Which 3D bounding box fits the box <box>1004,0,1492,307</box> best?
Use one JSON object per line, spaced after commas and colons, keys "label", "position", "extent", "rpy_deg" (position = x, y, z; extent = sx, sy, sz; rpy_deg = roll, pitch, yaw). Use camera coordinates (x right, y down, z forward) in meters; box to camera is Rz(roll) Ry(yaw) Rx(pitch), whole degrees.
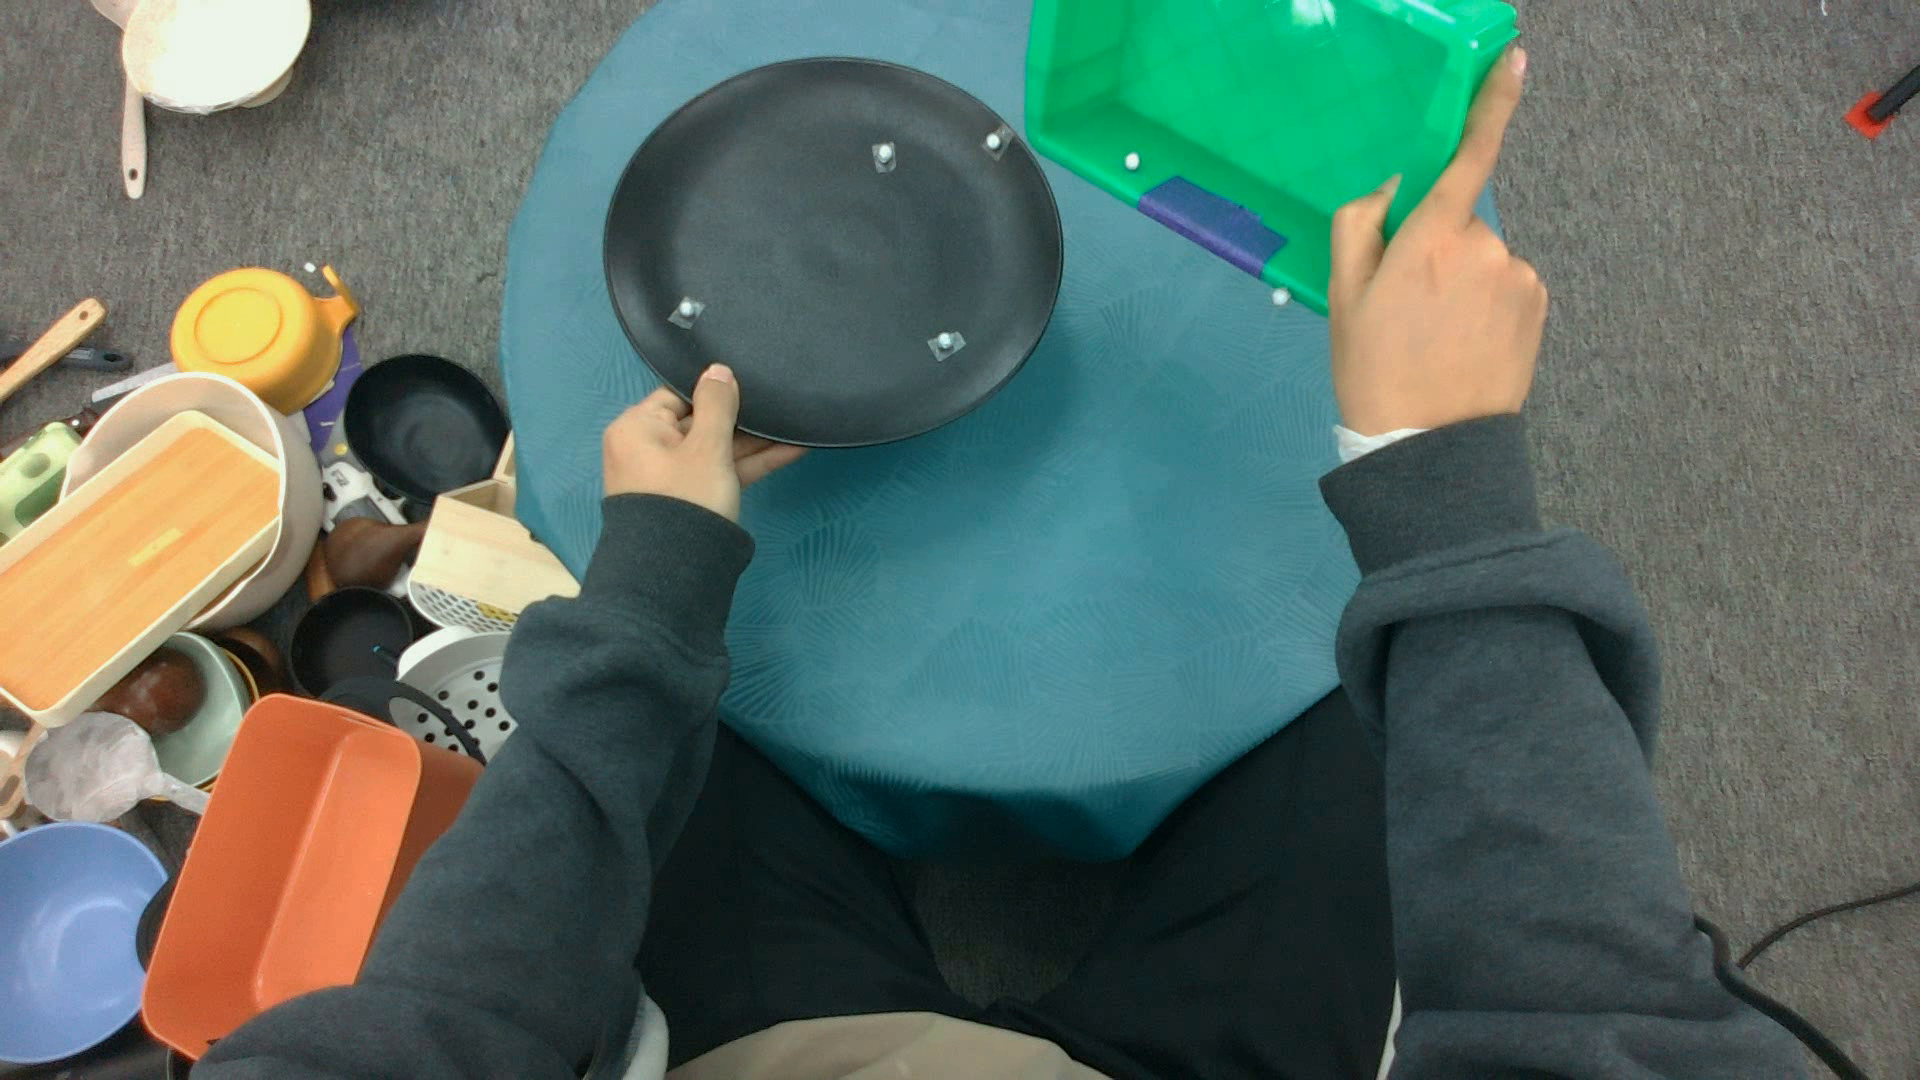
{"label": "box", "position": [0.122, -0.211, 0.609], "extent": [0.210, 0.138, 0.065], "rpy_deg": [34, 52, 23]}

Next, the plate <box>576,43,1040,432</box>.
{"label": "plate", "position": [-0.079, -0.163, 0.738], "extent": [0.244, 0.023, 0.245], "rpy_deg": [2, 68, -4]}
